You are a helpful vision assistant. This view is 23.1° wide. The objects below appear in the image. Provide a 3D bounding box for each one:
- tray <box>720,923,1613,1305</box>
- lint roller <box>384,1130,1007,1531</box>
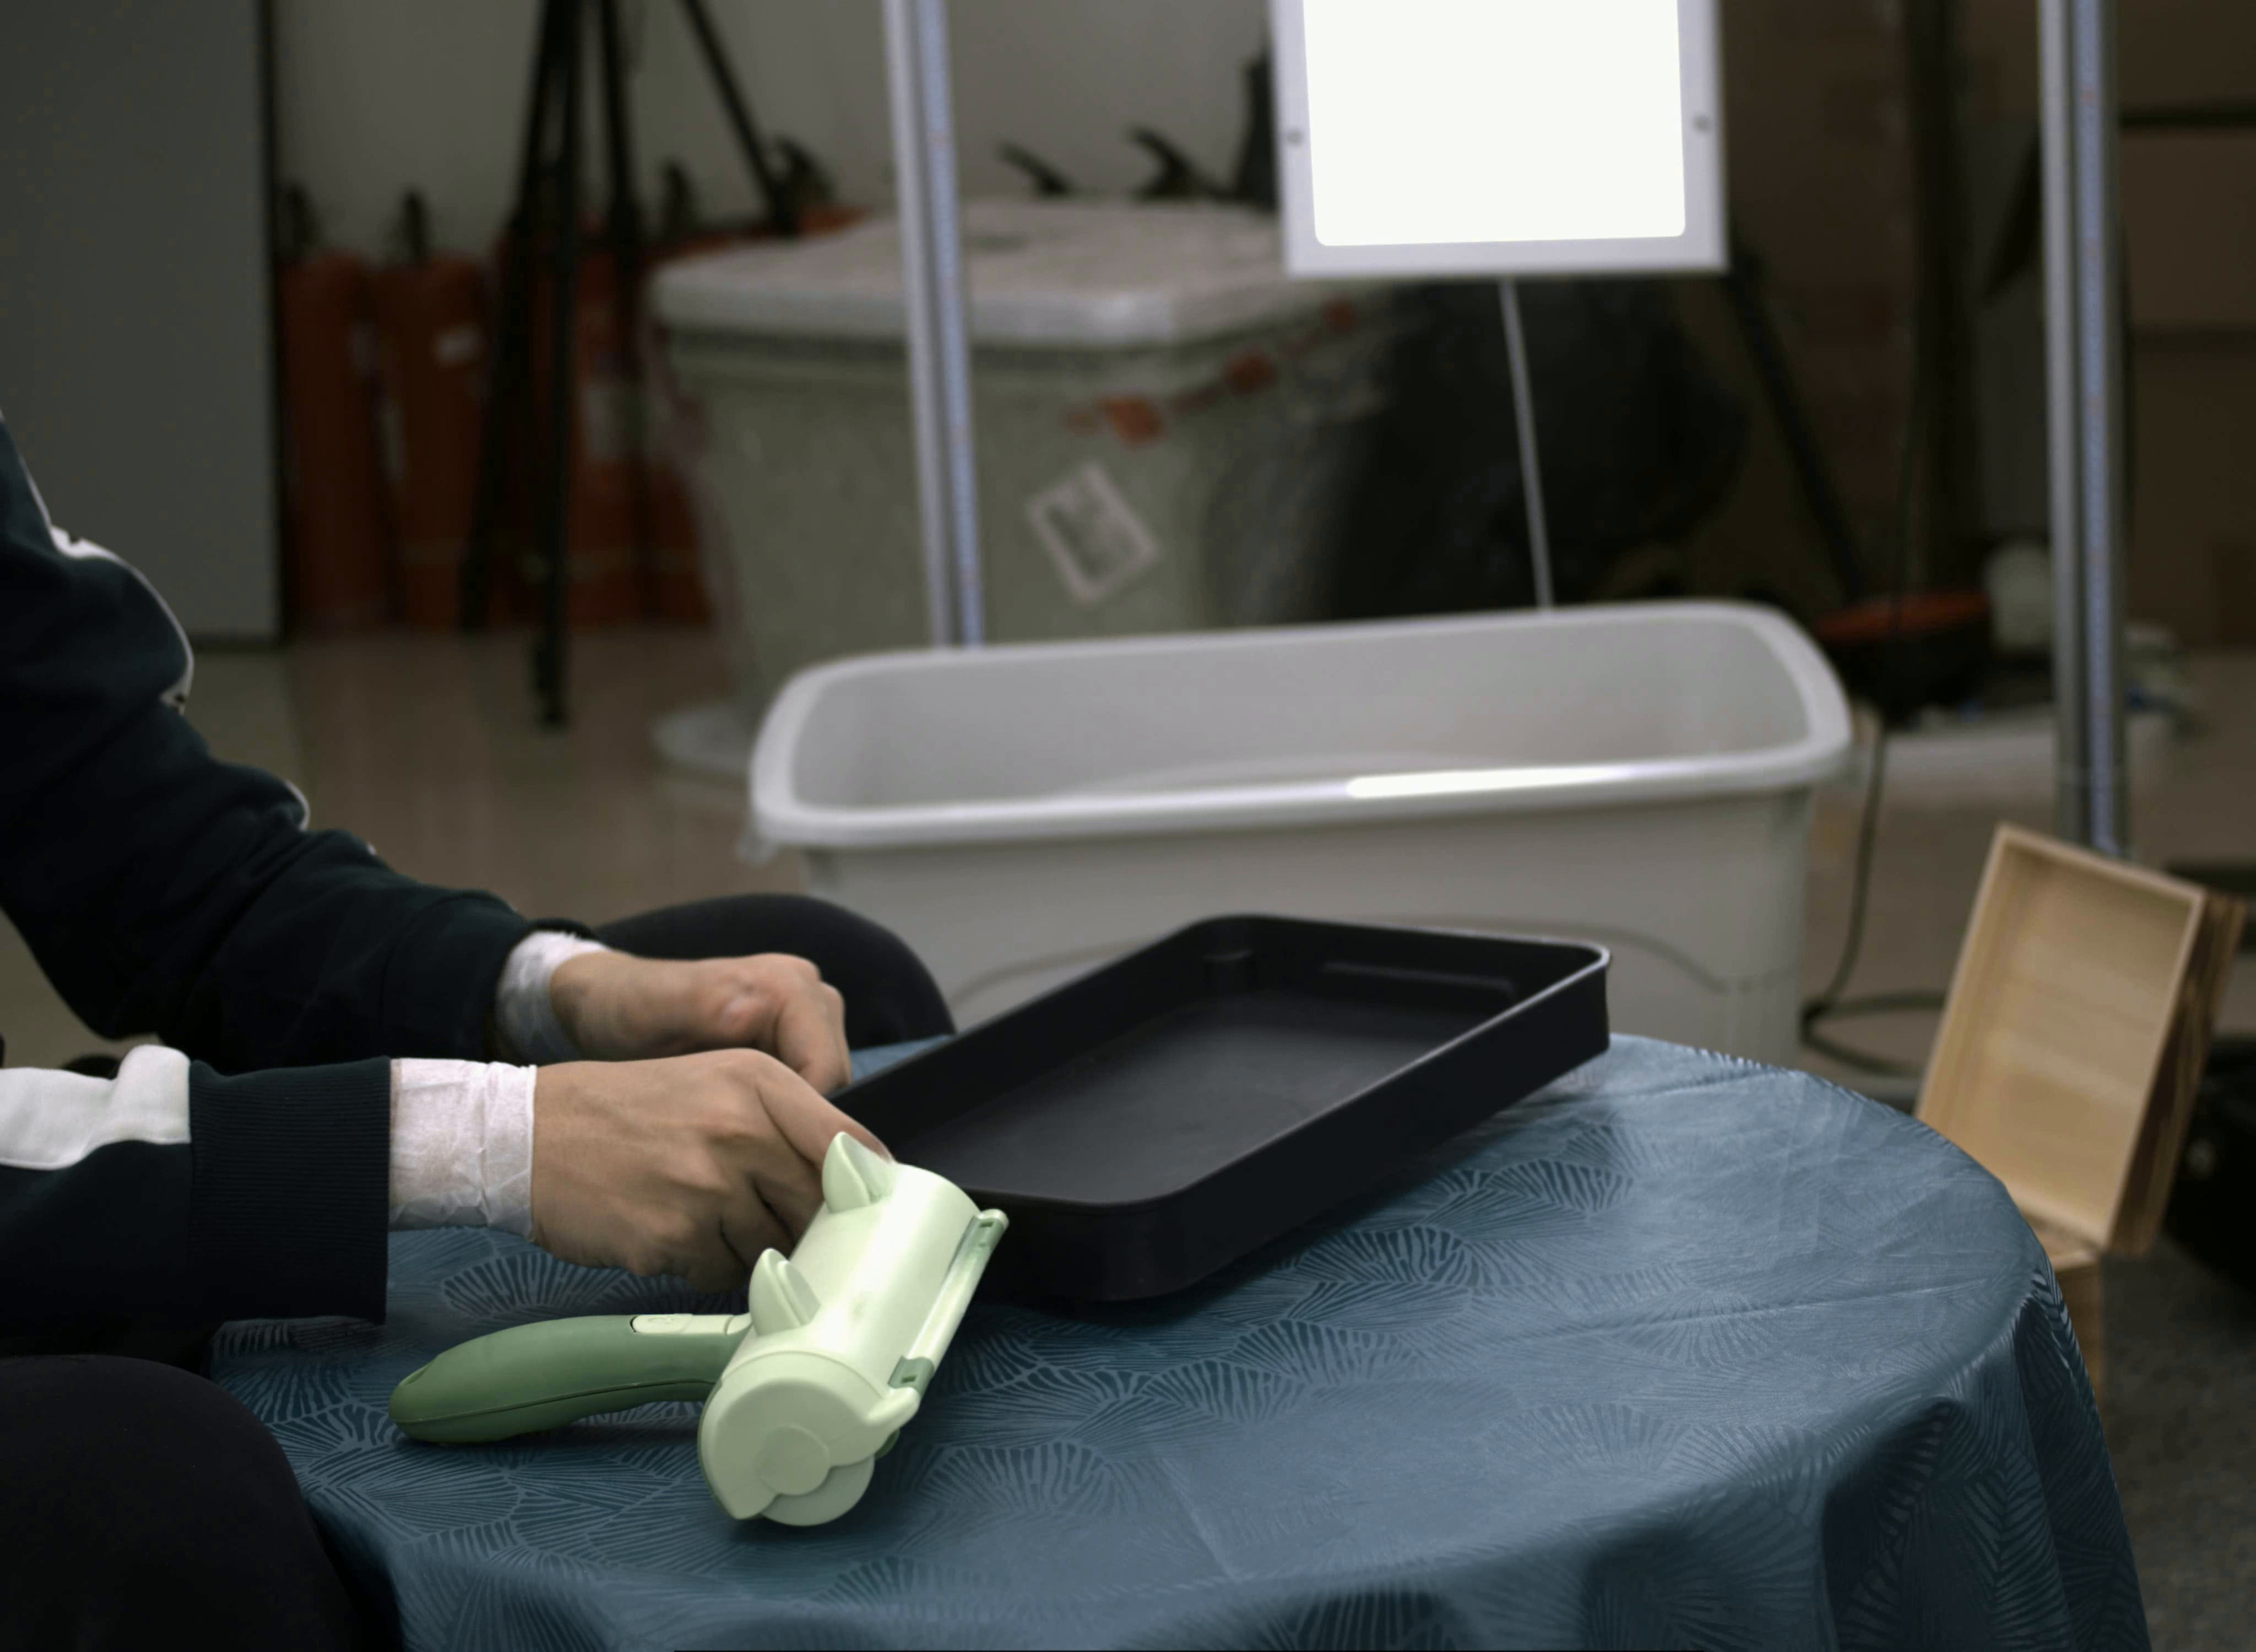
[{"bbox_3d":[0.020,0.094,1.907,0.188,0.037,0.310,4,16,36],"label":"tray"},{"bbox_3d":[-0.140,0.149,1.689,0.184,0.082,0.196,0,15,9],"label":"lint roller"}]
